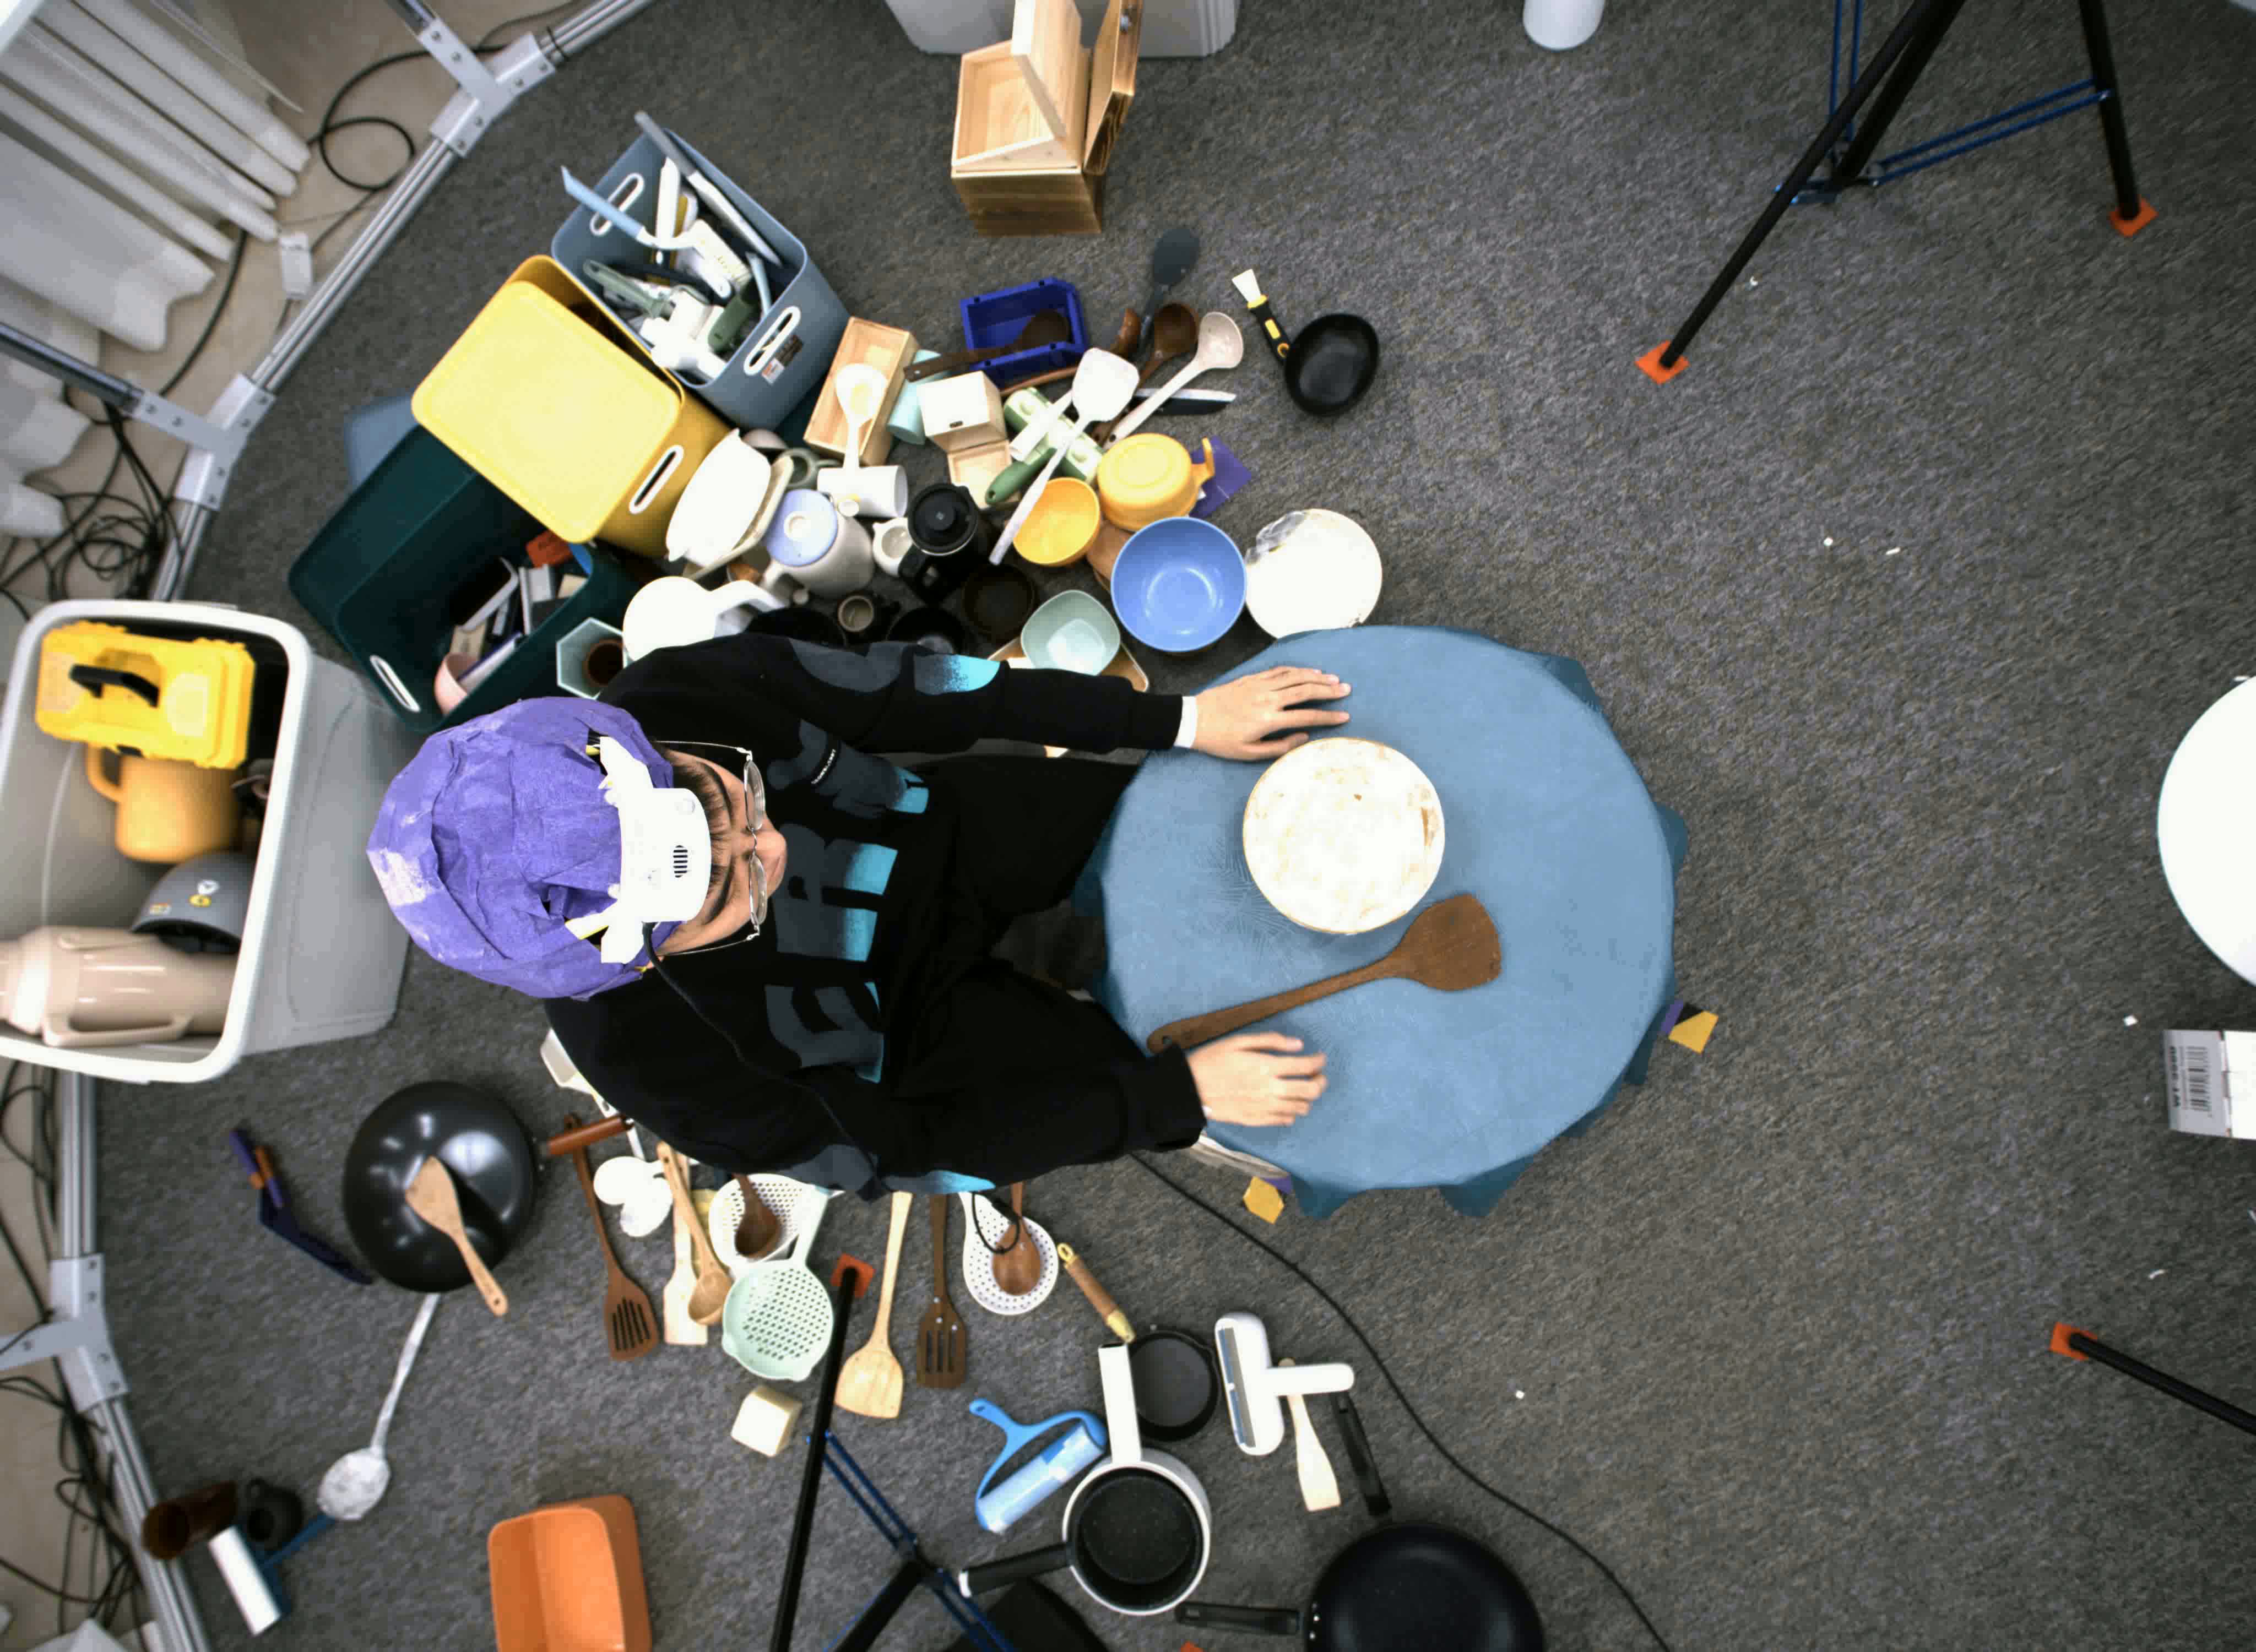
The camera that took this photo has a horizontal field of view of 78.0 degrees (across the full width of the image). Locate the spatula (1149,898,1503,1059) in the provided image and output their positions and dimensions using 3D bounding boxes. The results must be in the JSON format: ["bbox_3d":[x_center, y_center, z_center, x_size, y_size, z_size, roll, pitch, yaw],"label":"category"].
[{"bbox_3d":[0.204,0.176,1.463,0.388,0.016,0.095,-20,82,9],"label":"spatula"}]

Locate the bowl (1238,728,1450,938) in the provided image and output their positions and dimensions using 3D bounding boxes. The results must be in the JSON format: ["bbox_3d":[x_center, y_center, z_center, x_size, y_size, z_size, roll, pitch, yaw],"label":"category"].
[{"bbox_3d":[0.223,0.012,1.429,0.215,0.094,0.214,-1,87,10],"label":"bowl"}]
